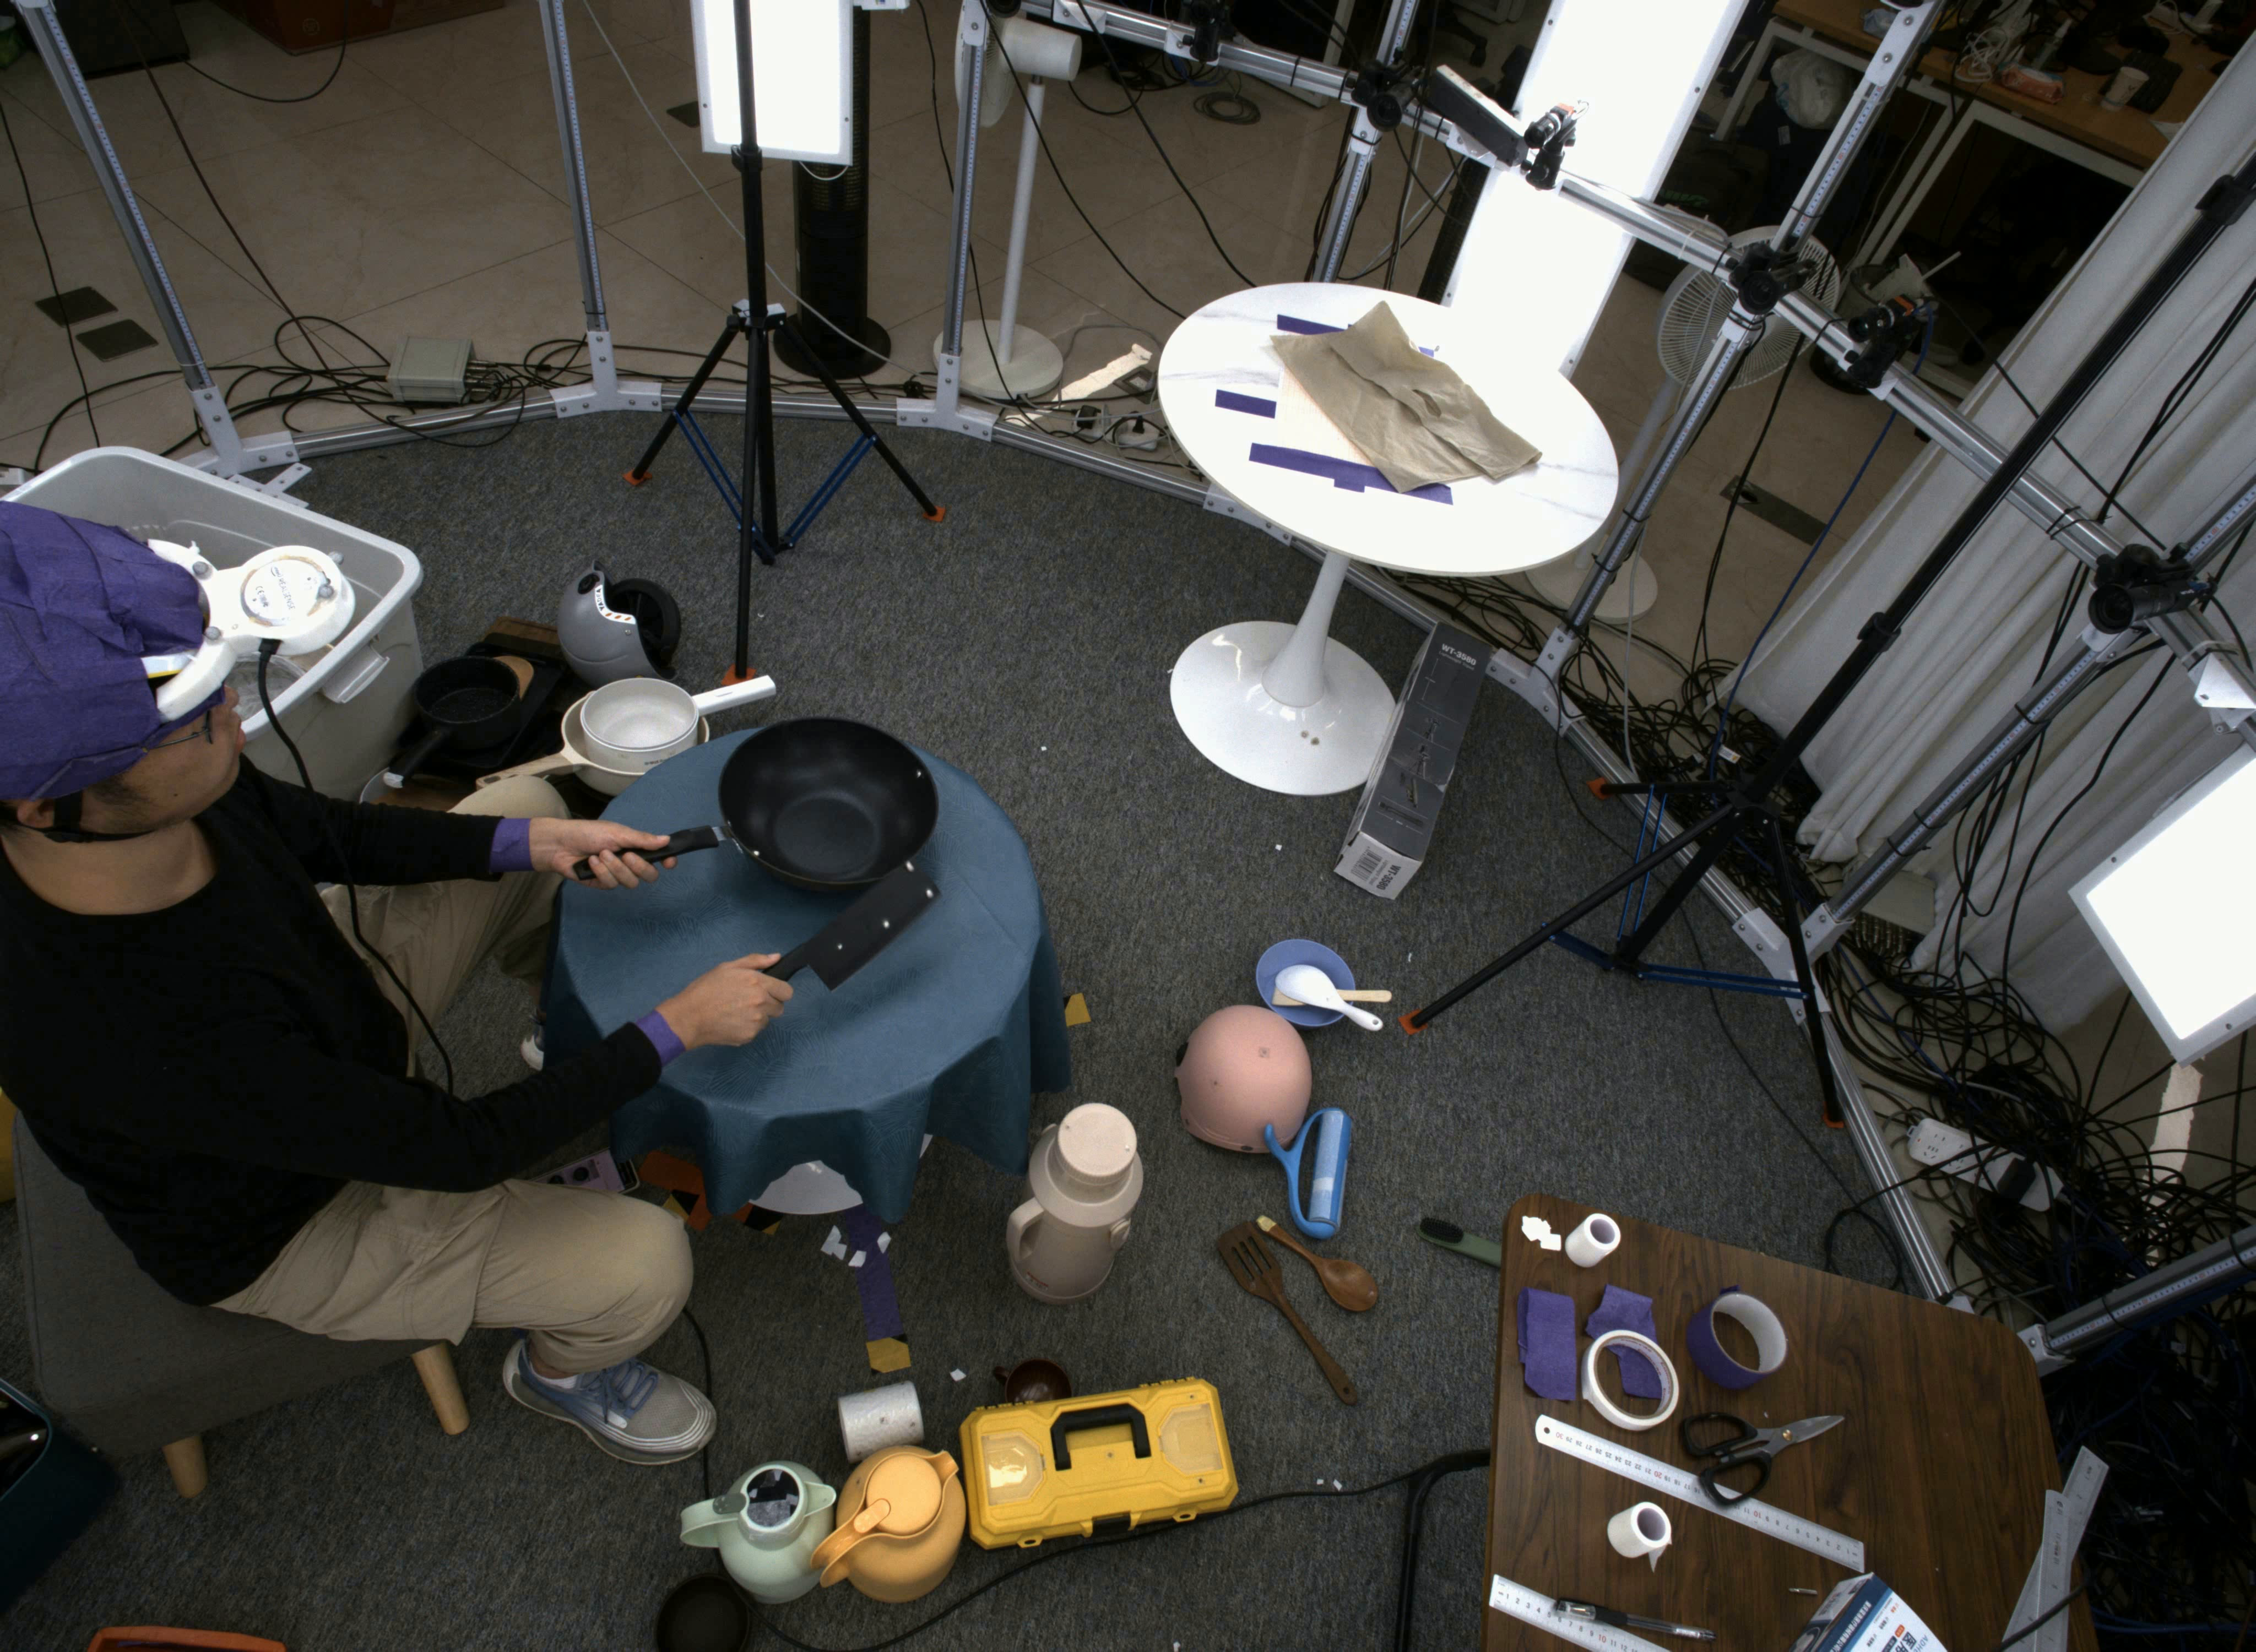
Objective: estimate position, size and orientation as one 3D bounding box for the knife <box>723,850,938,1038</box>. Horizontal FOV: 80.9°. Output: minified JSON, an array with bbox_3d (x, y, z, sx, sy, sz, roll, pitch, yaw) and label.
[{"bbox_3d":[-0.351,0.142,1.529,0.302,0.020,0.082,-39,104,-24],"label":"knife"}]

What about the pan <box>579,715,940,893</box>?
[{"bbox_3d":[-0.461,0.009,1.635,0.467,0.088,0.281,-20,60,-32],"label":"pan"}]
